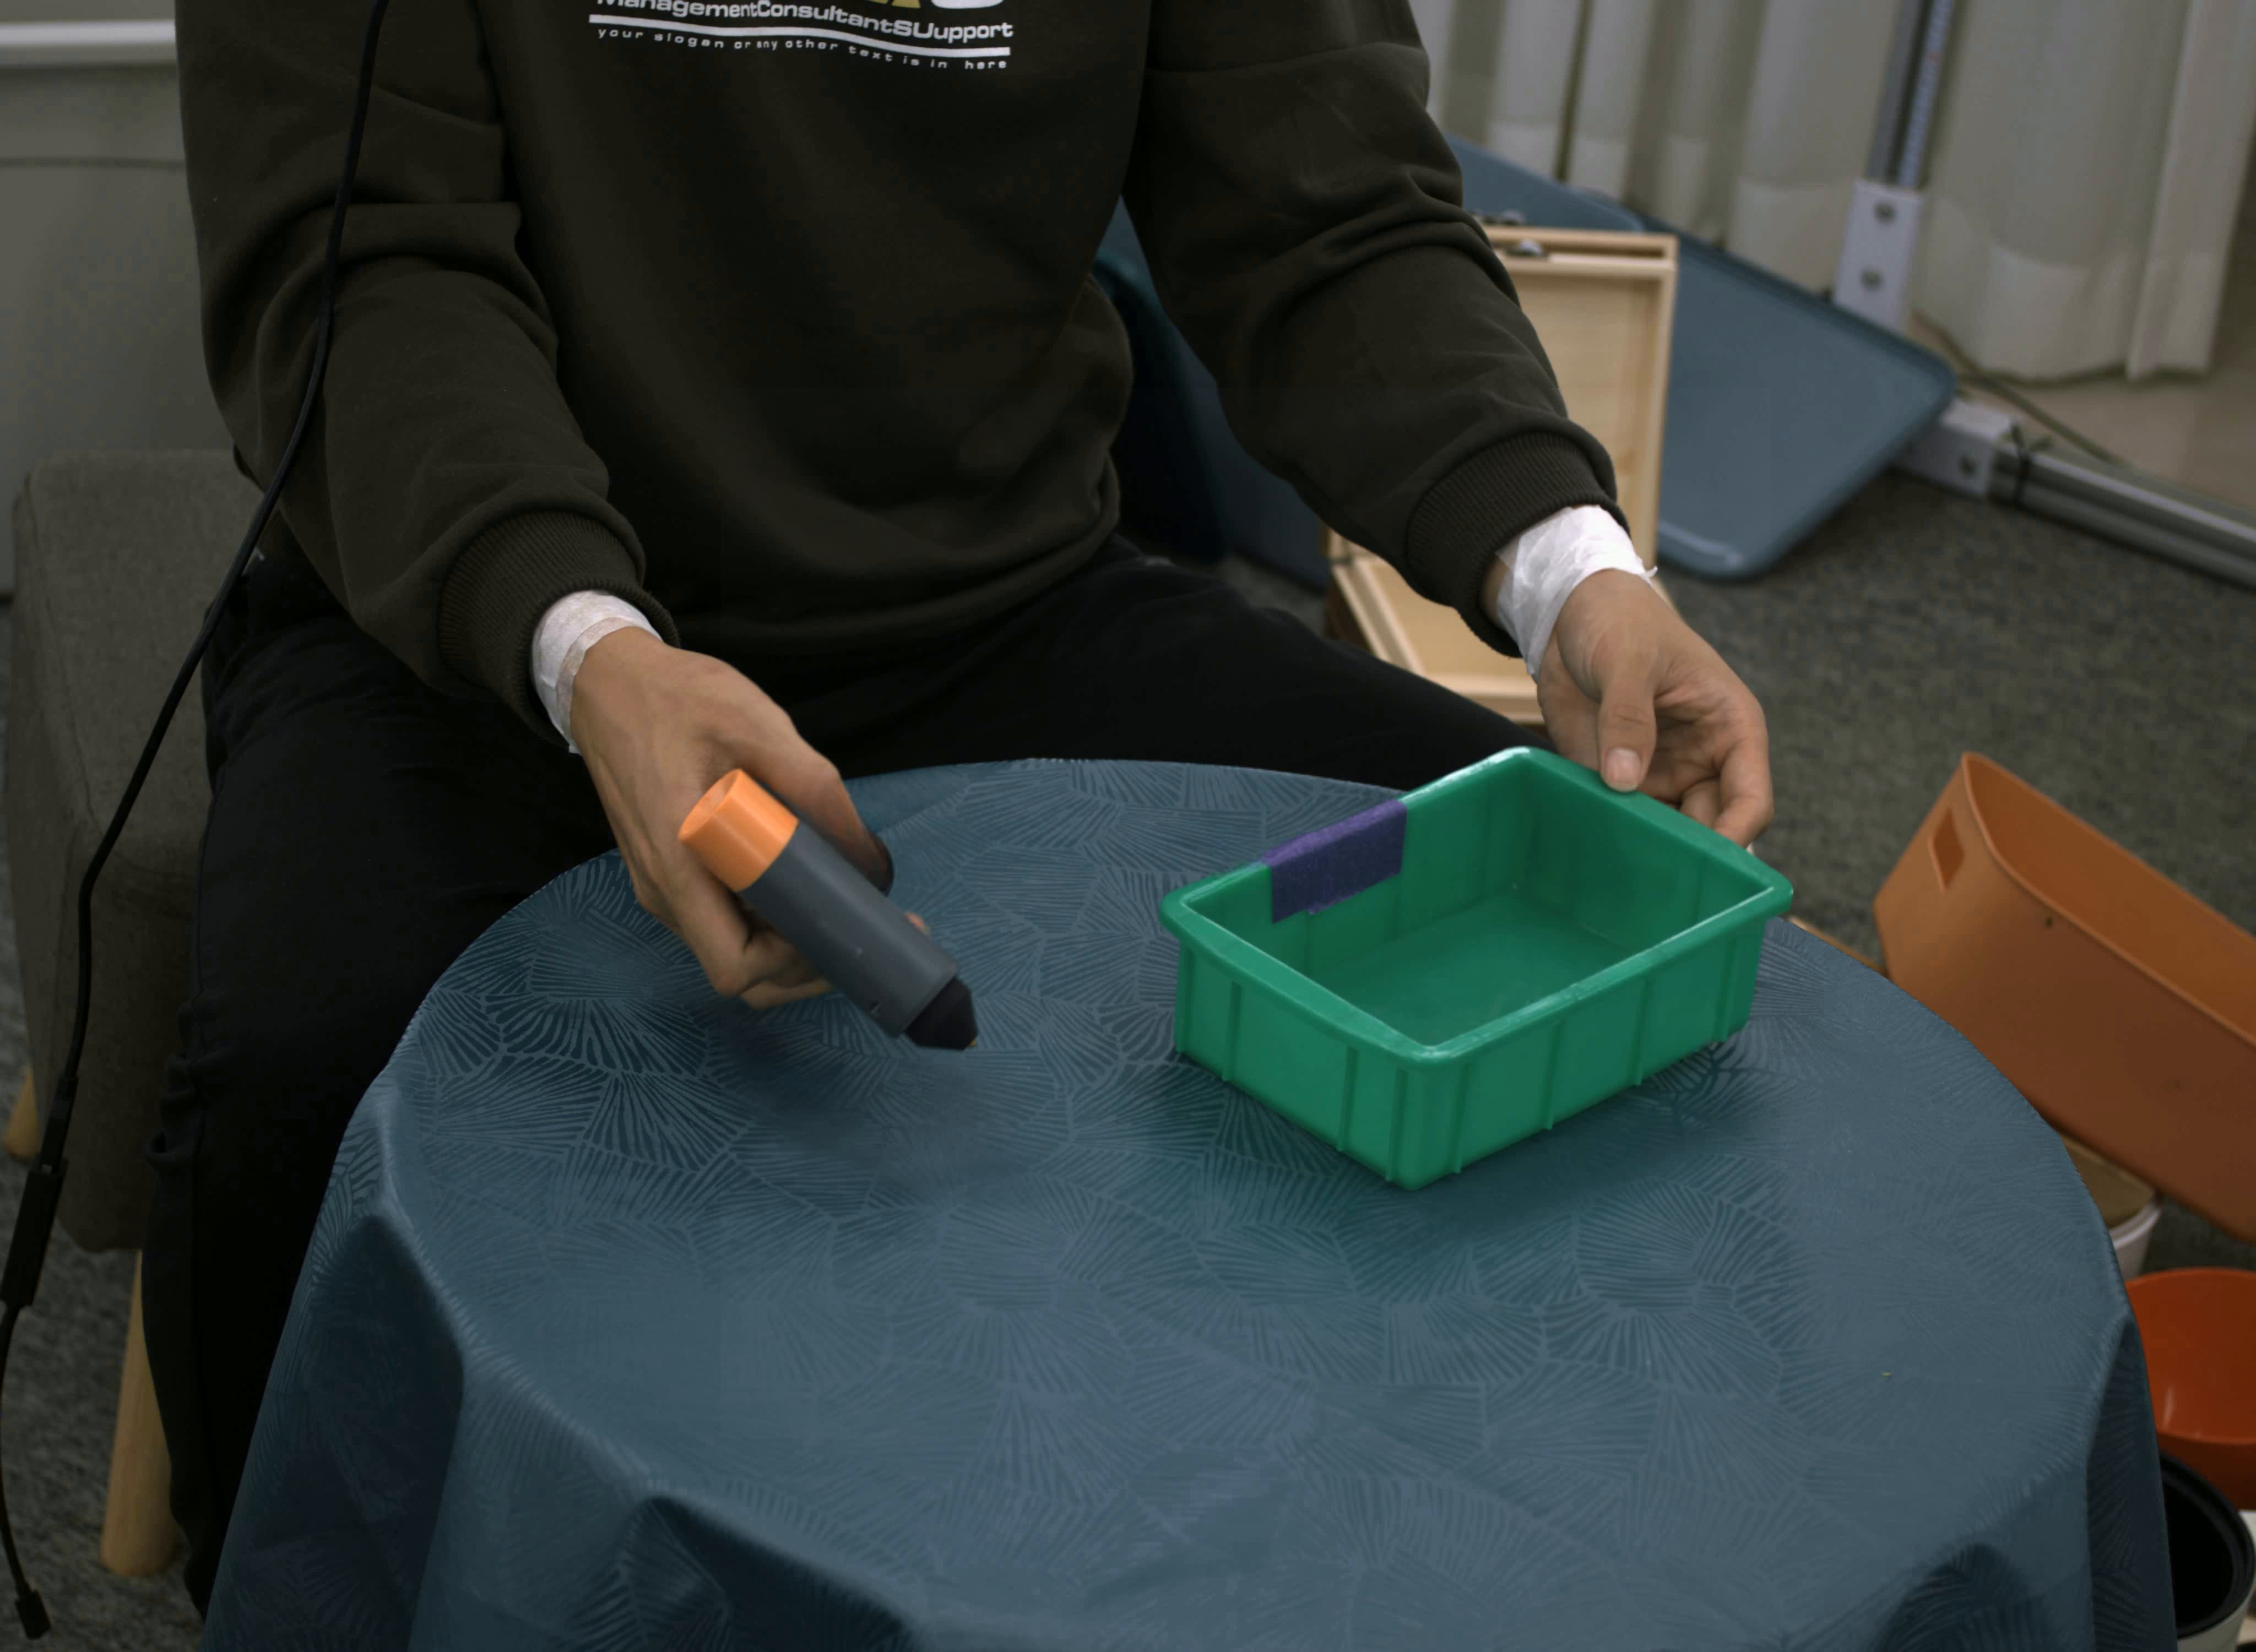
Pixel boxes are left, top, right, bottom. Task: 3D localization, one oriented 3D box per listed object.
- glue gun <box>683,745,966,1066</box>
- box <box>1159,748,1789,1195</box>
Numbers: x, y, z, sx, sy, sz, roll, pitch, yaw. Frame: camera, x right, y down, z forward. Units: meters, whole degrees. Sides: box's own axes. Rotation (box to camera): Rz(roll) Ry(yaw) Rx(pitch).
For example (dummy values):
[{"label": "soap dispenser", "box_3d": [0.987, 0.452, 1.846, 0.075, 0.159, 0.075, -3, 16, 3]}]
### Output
[{"label": "glue gun", "box_3d": [-0.104, 0.025, 1.844, 0.117, 0.041, 0.140, 45, 4, -16]}, {"label": "box", "box_3d": [0.122, 0.052, 1.904, 0.209, 0.065, 0.140, -24, 39, -39]}]
